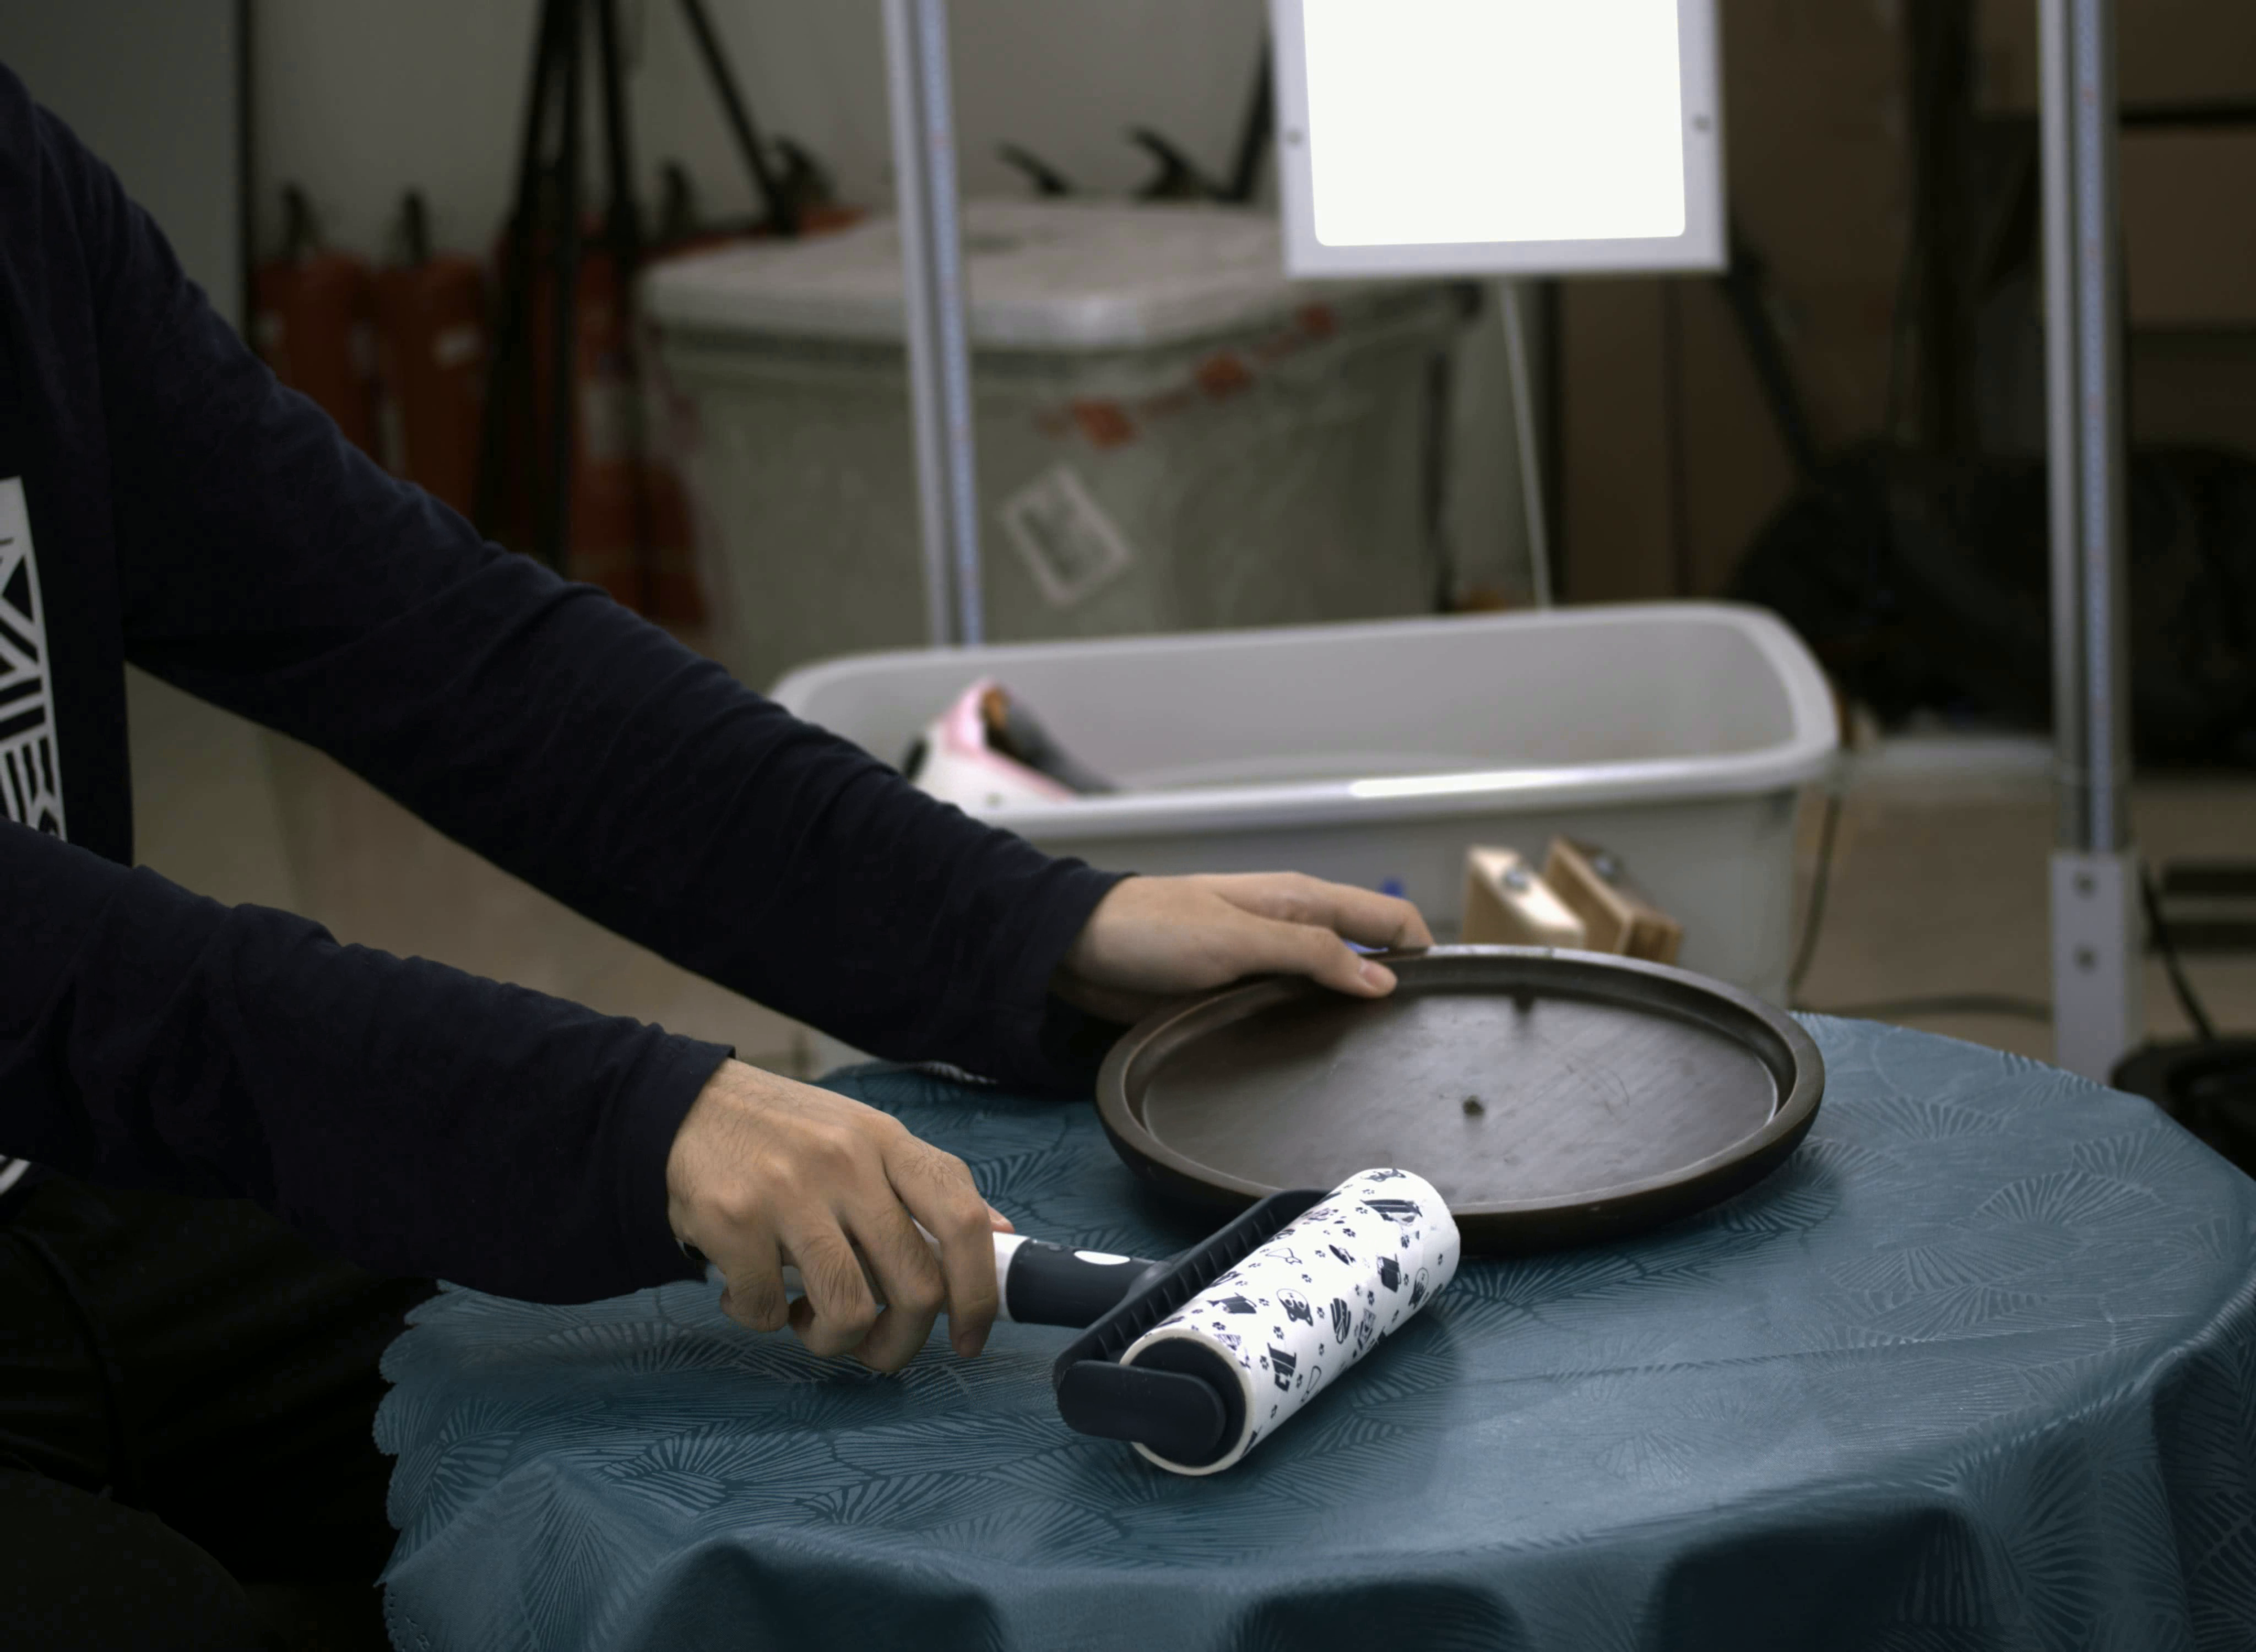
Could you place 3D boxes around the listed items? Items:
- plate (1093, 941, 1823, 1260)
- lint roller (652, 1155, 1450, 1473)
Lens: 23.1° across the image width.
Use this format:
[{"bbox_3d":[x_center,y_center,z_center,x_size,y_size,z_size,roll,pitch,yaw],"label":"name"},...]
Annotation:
[{"bbox_3d":[0.115,0.093,1.905,0.254,0.029,0.254,-5,18,0],"label":"plate"},{"bbox_3d":[-0.042,0.140,1.732,0.251,0.050,0.172,6,18,26],"label":"lint roller"}]
